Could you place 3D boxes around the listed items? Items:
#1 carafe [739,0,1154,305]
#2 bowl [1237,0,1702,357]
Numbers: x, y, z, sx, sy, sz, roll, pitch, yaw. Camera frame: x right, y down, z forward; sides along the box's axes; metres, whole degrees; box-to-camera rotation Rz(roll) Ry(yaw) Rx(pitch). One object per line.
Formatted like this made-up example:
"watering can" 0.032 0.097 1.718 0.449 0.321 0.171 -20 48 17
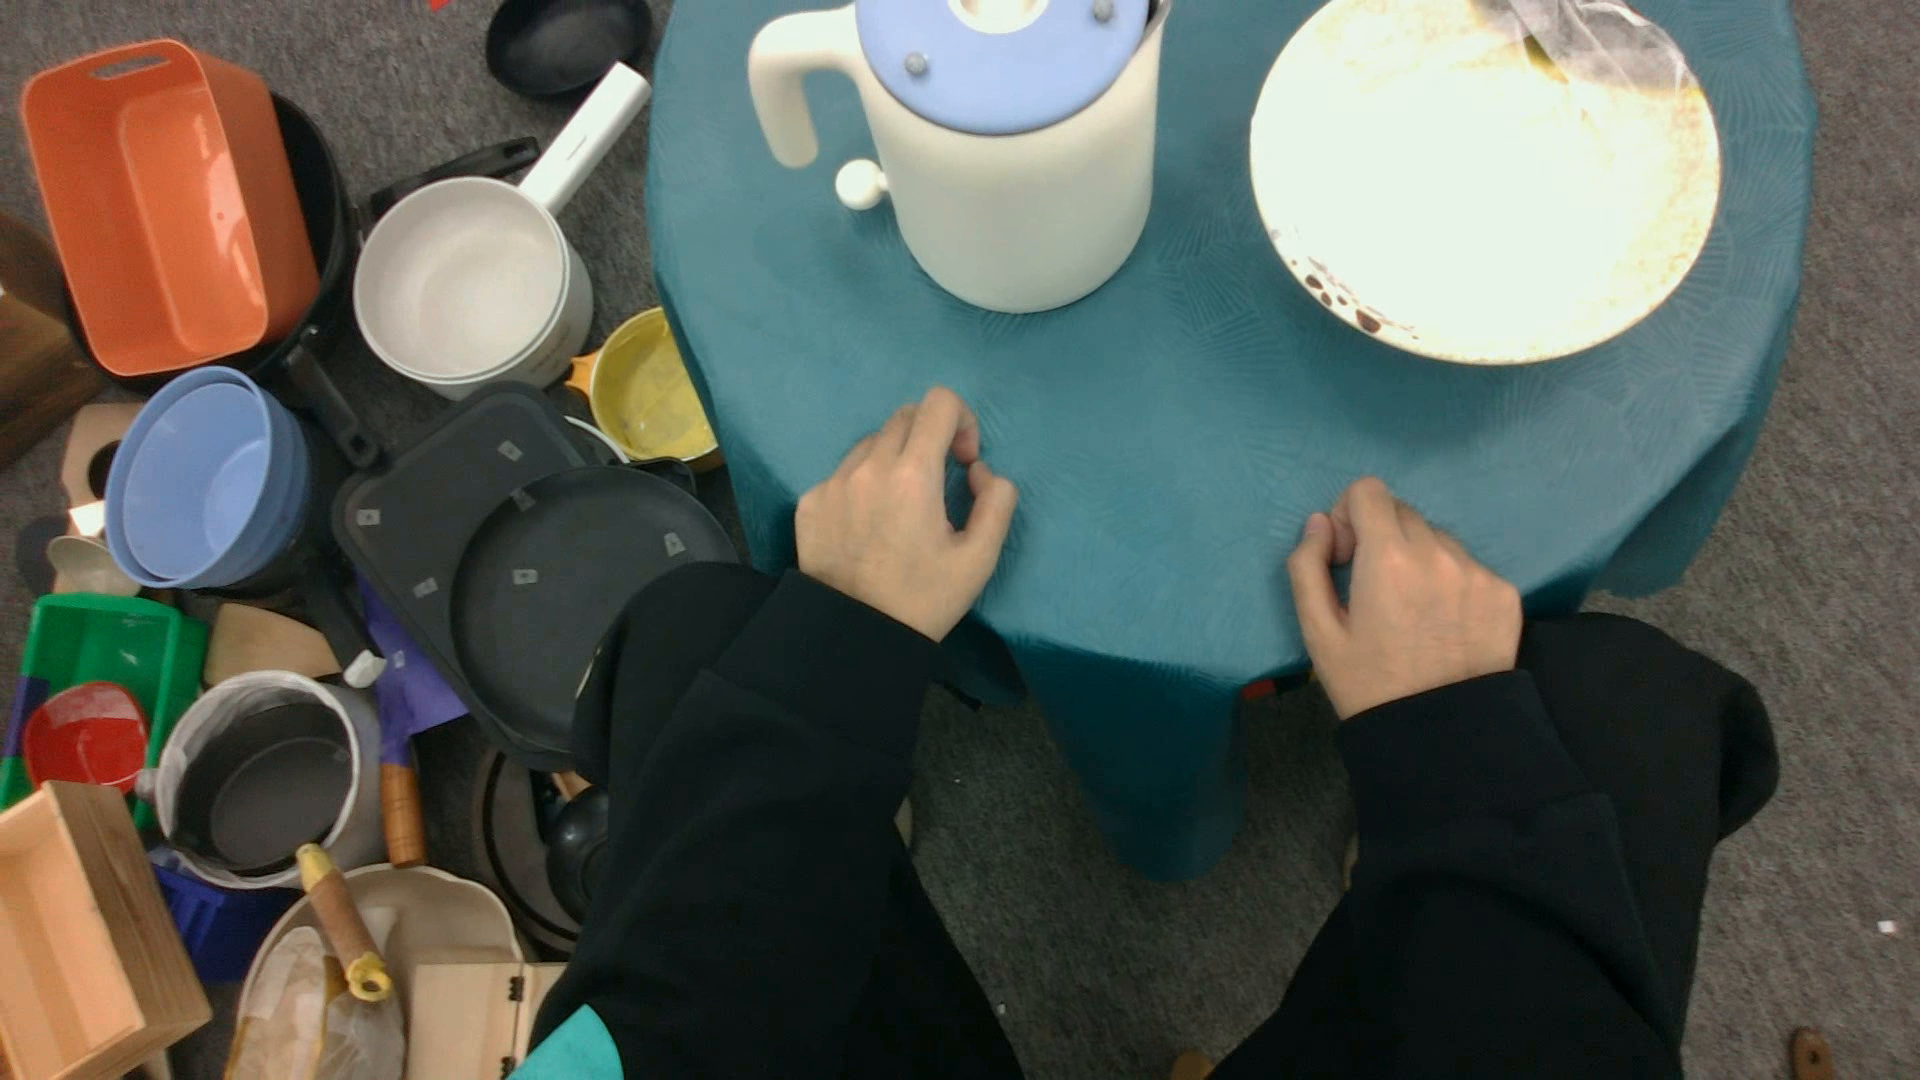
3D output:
"carafe" -0.004 -0.200 0.637 0.191 0.182 0.132 -2 74 7
"bowl" 0.233 -0.173 0.659 0.204 0.078 0.204 -1 78 6
